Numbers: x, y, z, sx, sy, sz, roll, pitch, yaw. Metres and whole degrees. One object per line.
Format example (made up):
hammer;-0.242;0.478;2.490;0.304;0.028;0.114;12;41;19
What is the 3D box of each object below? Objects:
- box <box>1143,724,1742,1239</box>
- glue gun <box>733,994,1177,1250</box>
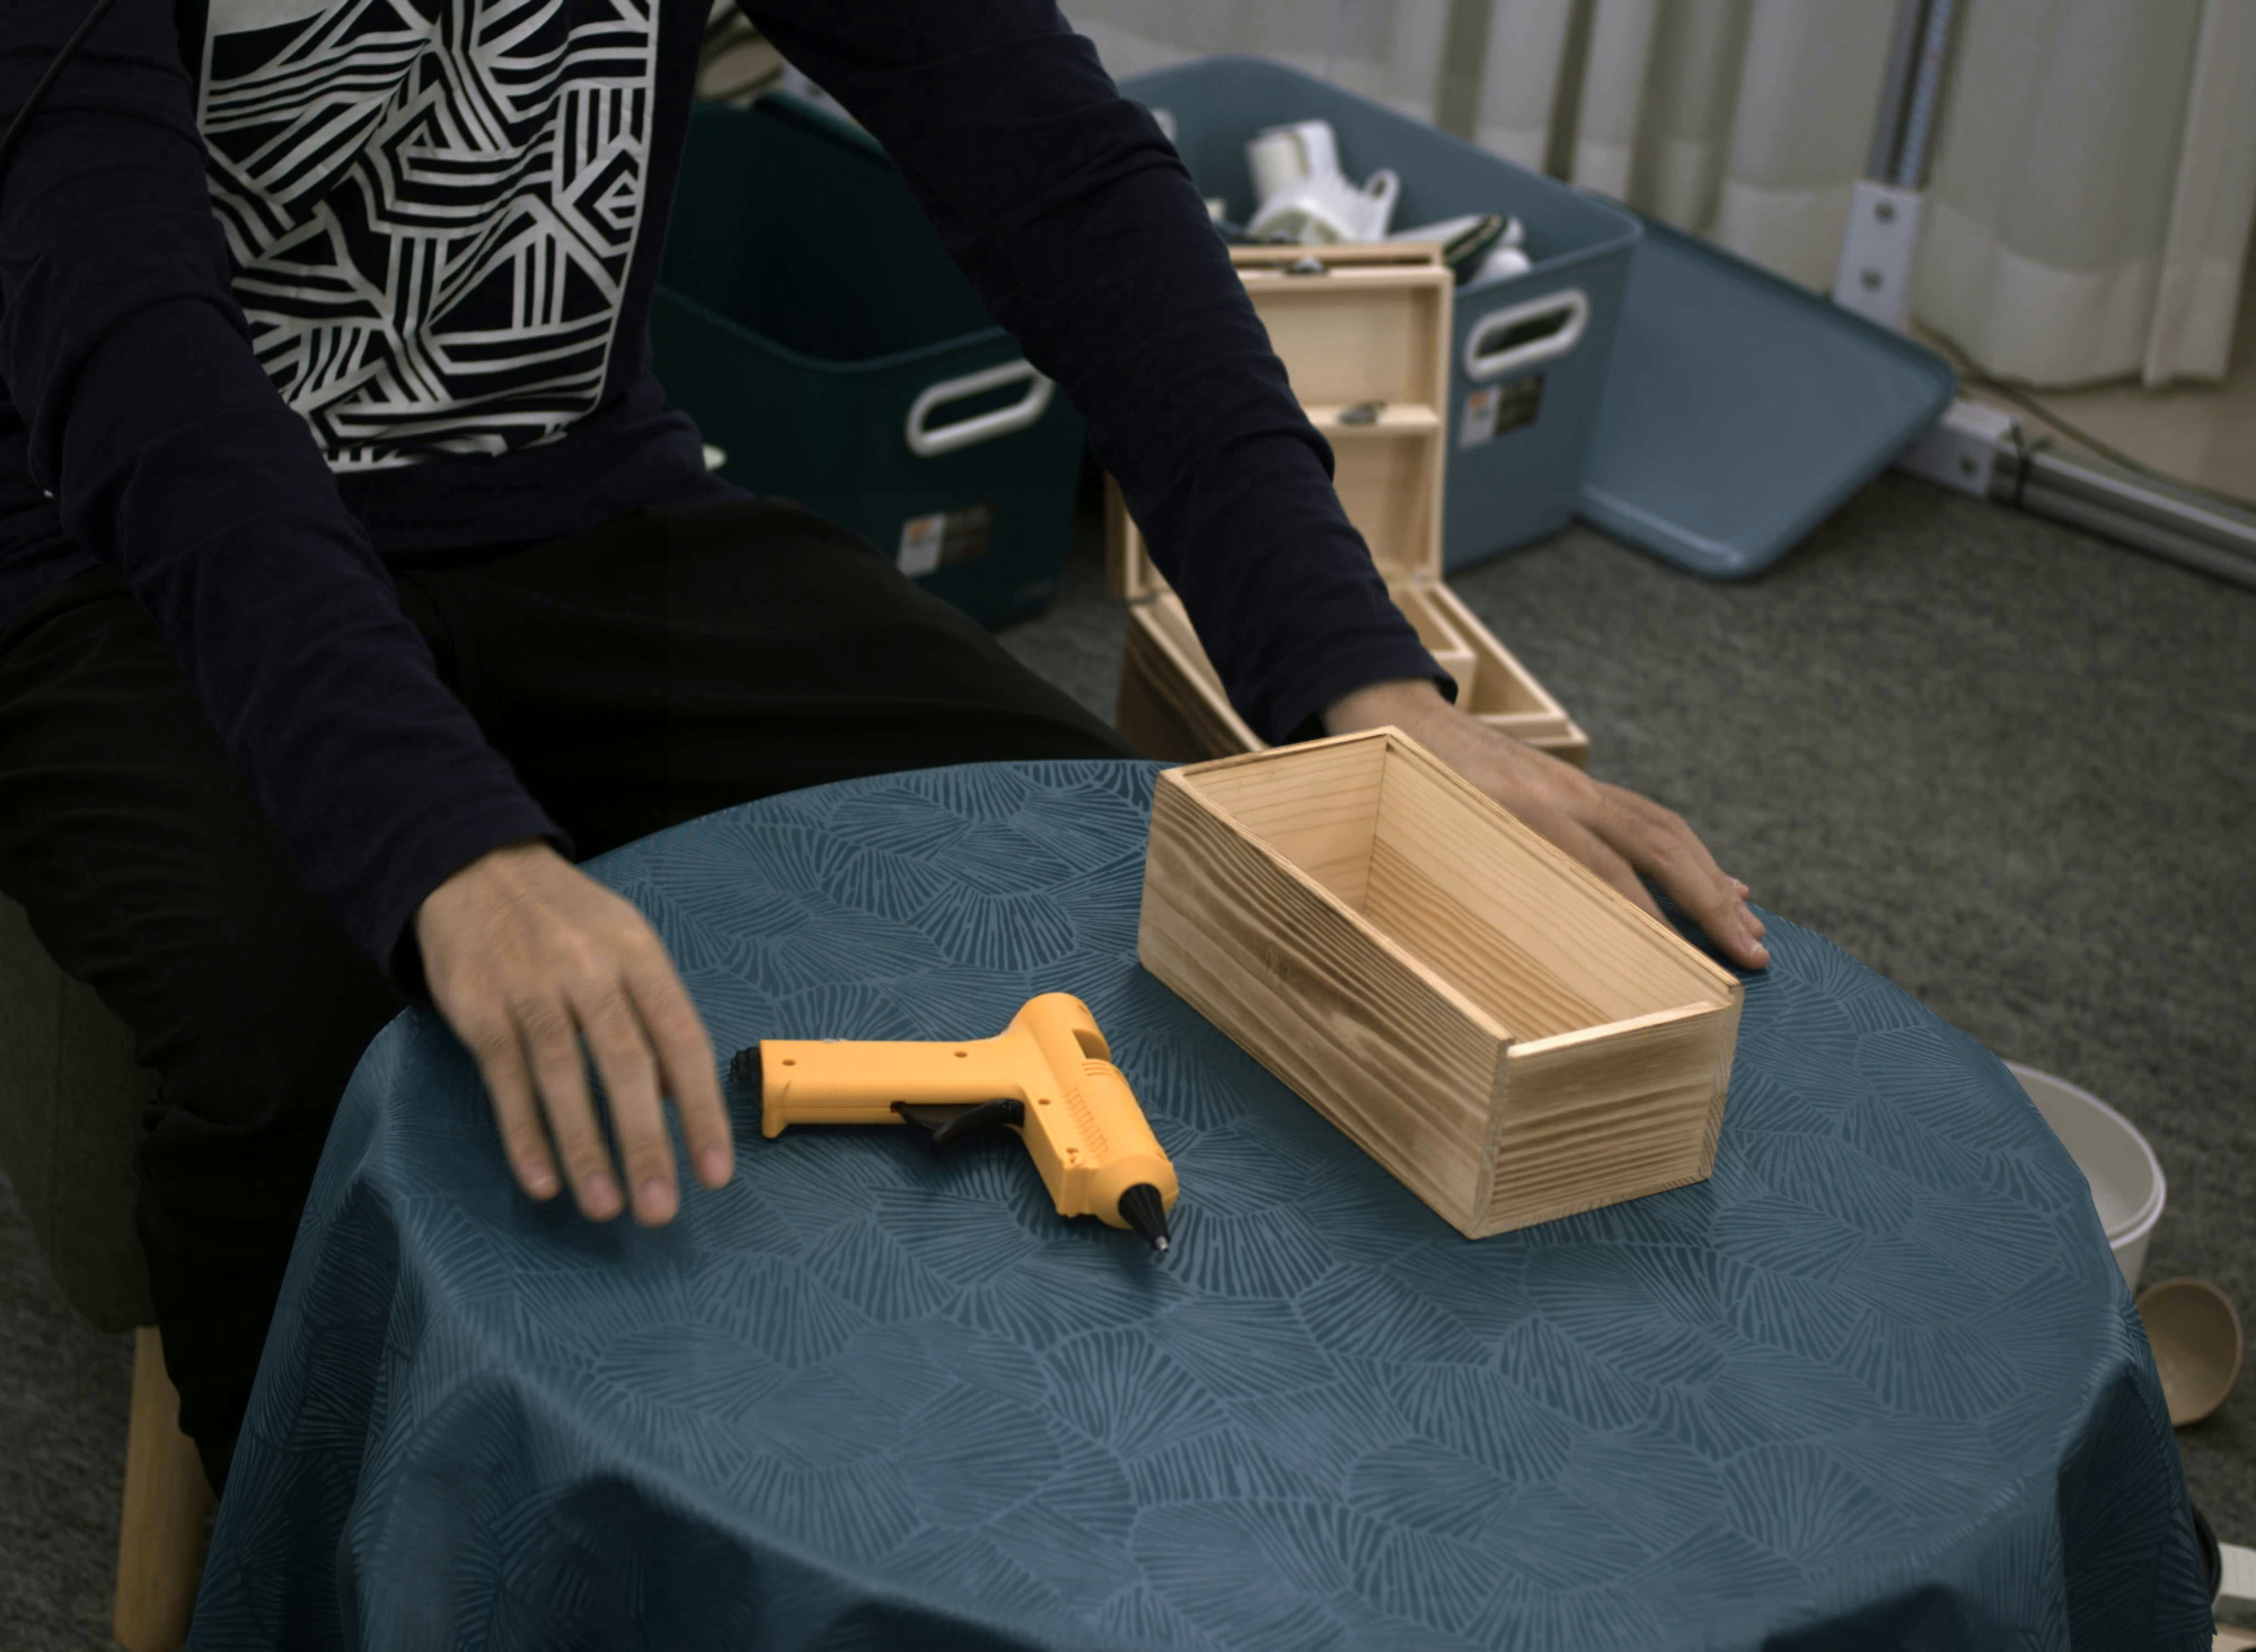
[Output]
box;0.108;0.051;1.890;0.107;0.080;0.213;-11;32;-31
glue gun;-0.050;0.108;1.801;0.132;0.031;0.152;-5;28;-21
